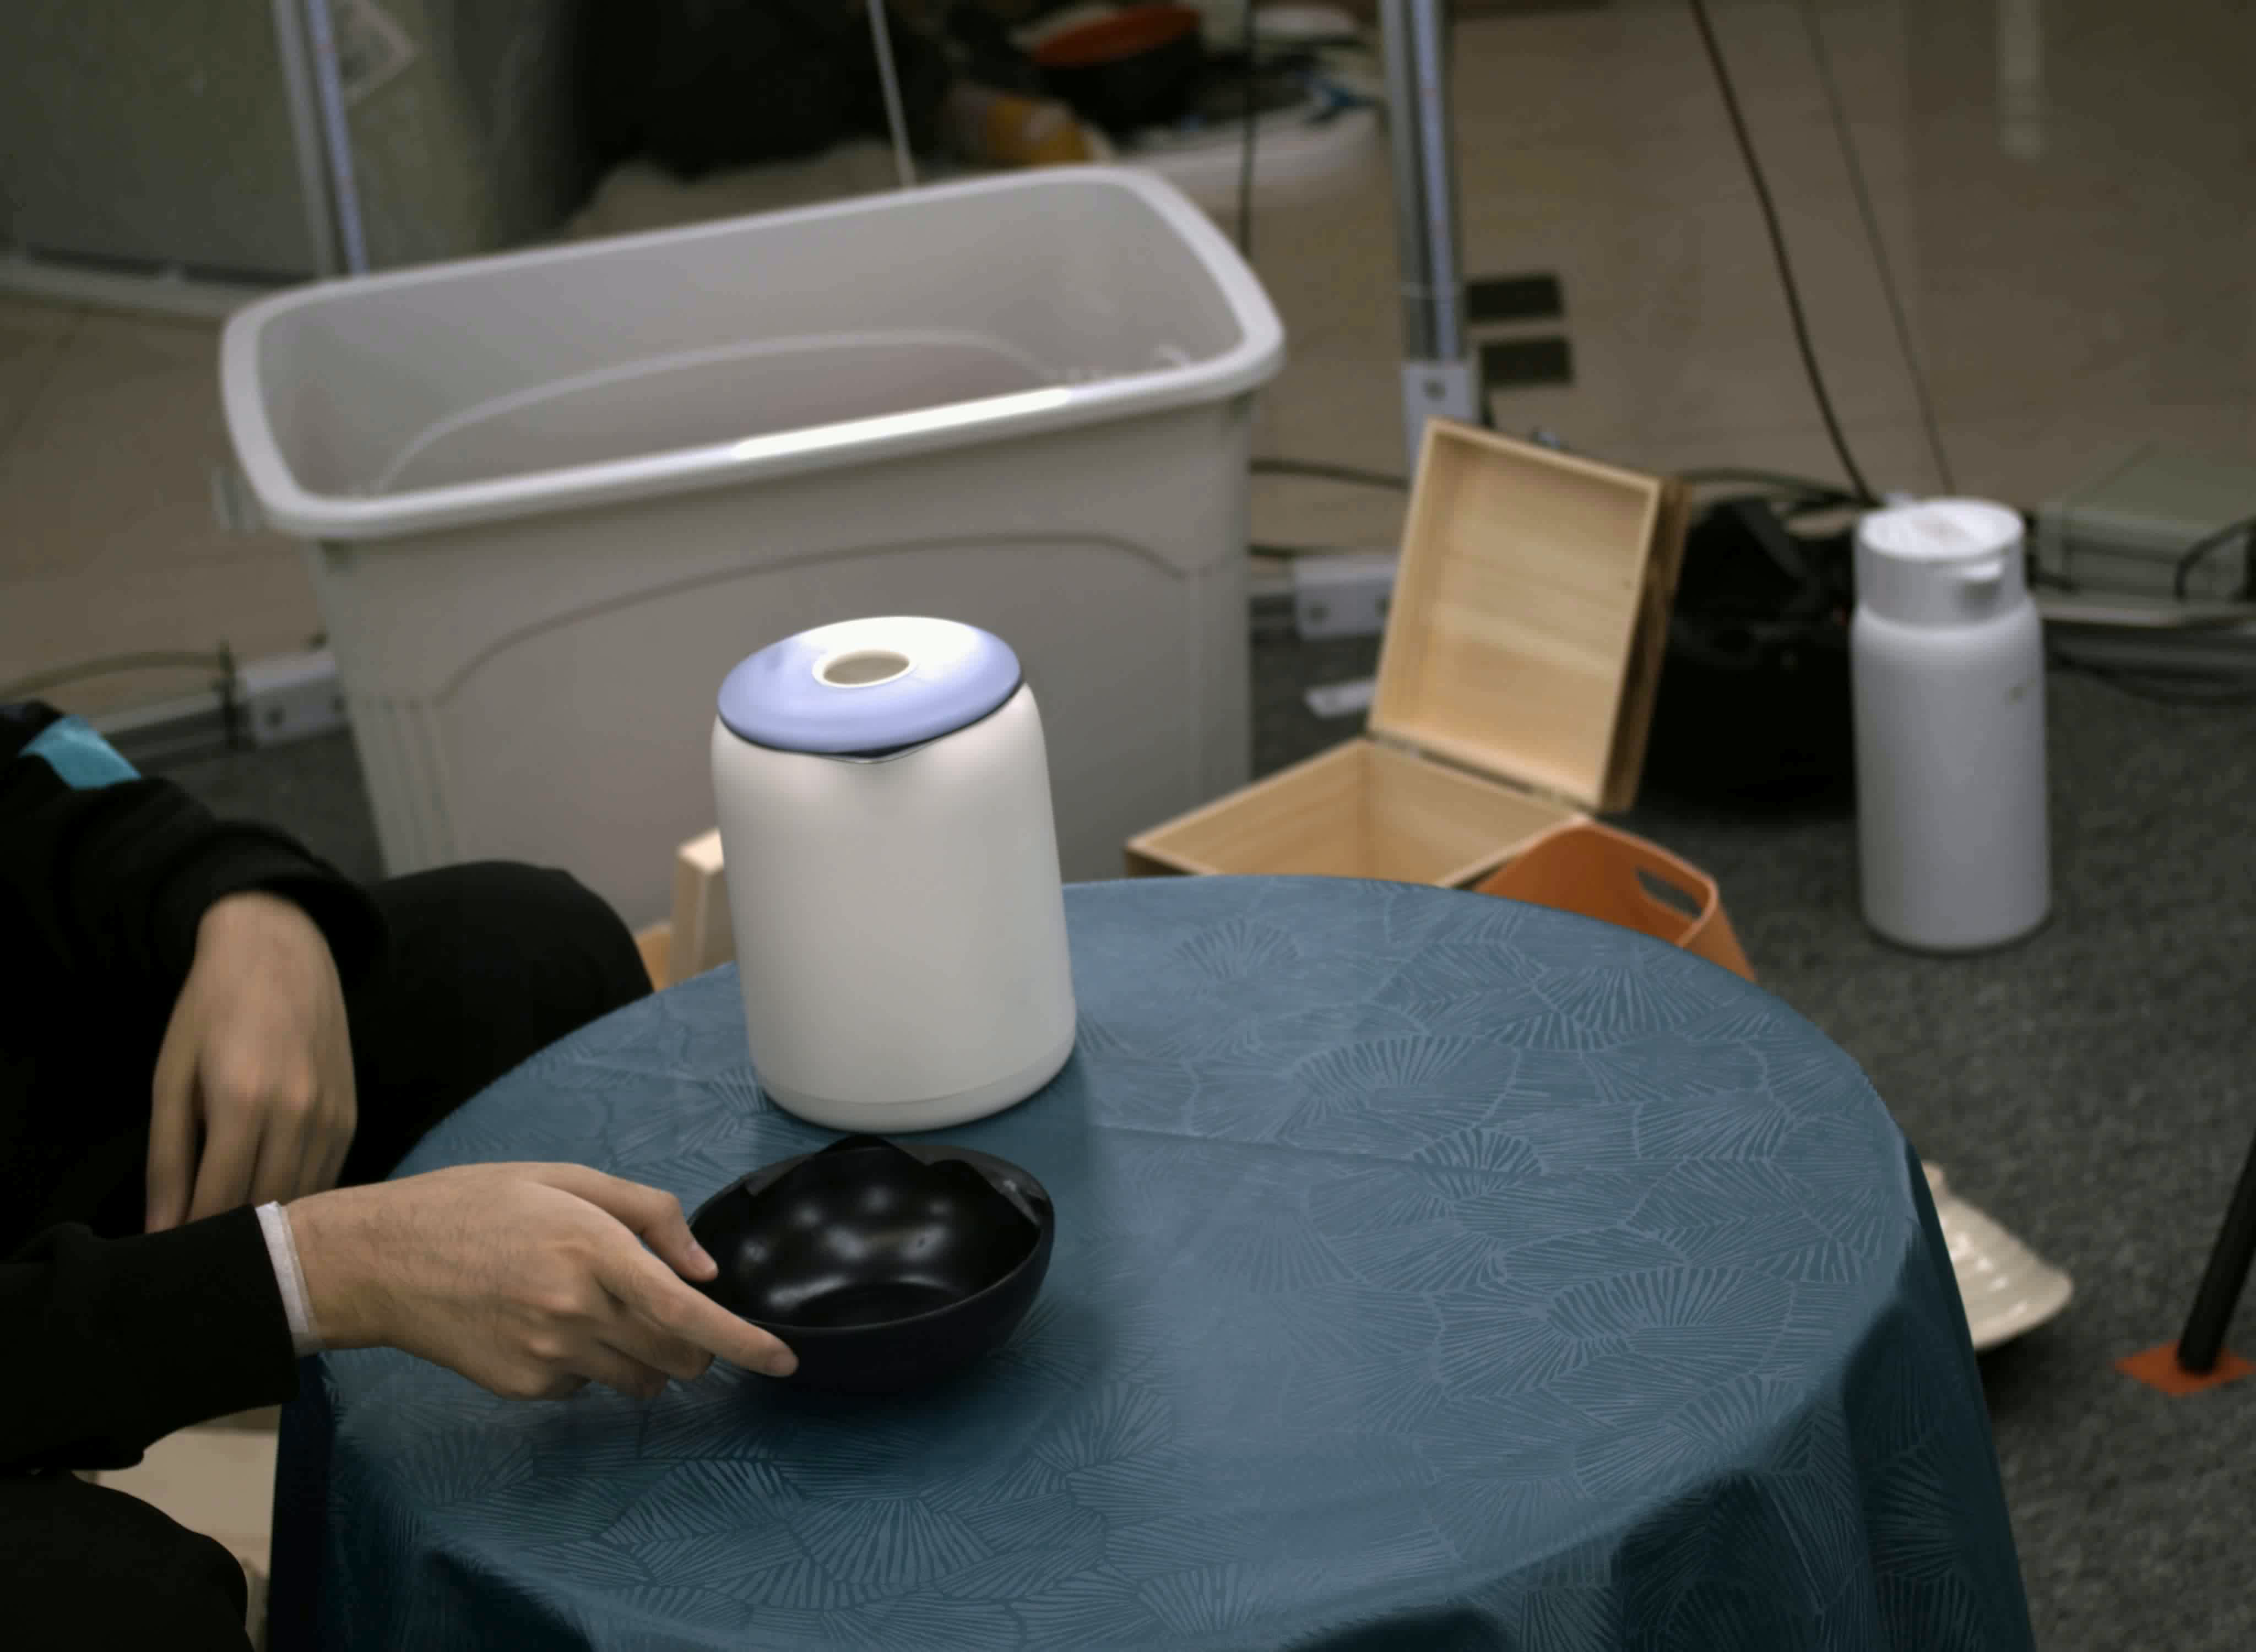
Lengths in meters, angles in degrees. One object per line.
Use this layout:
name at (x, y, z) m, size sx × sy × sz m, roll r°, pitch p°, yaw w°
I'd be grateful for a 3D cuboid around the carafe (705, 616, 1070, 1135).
carafe at (-0.097, 0.010, 2.240) m, size 0.132 × 0.185 × 0.188 m, roll -7°, pitch 23°, yaw -5°

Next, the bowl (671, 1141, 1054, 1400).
bowl at (-0.092, 0.168, 2.047) m, size 0.140 × 0.050 × 0.138 m, roll -8°, pitch 25°, yaw 4°
